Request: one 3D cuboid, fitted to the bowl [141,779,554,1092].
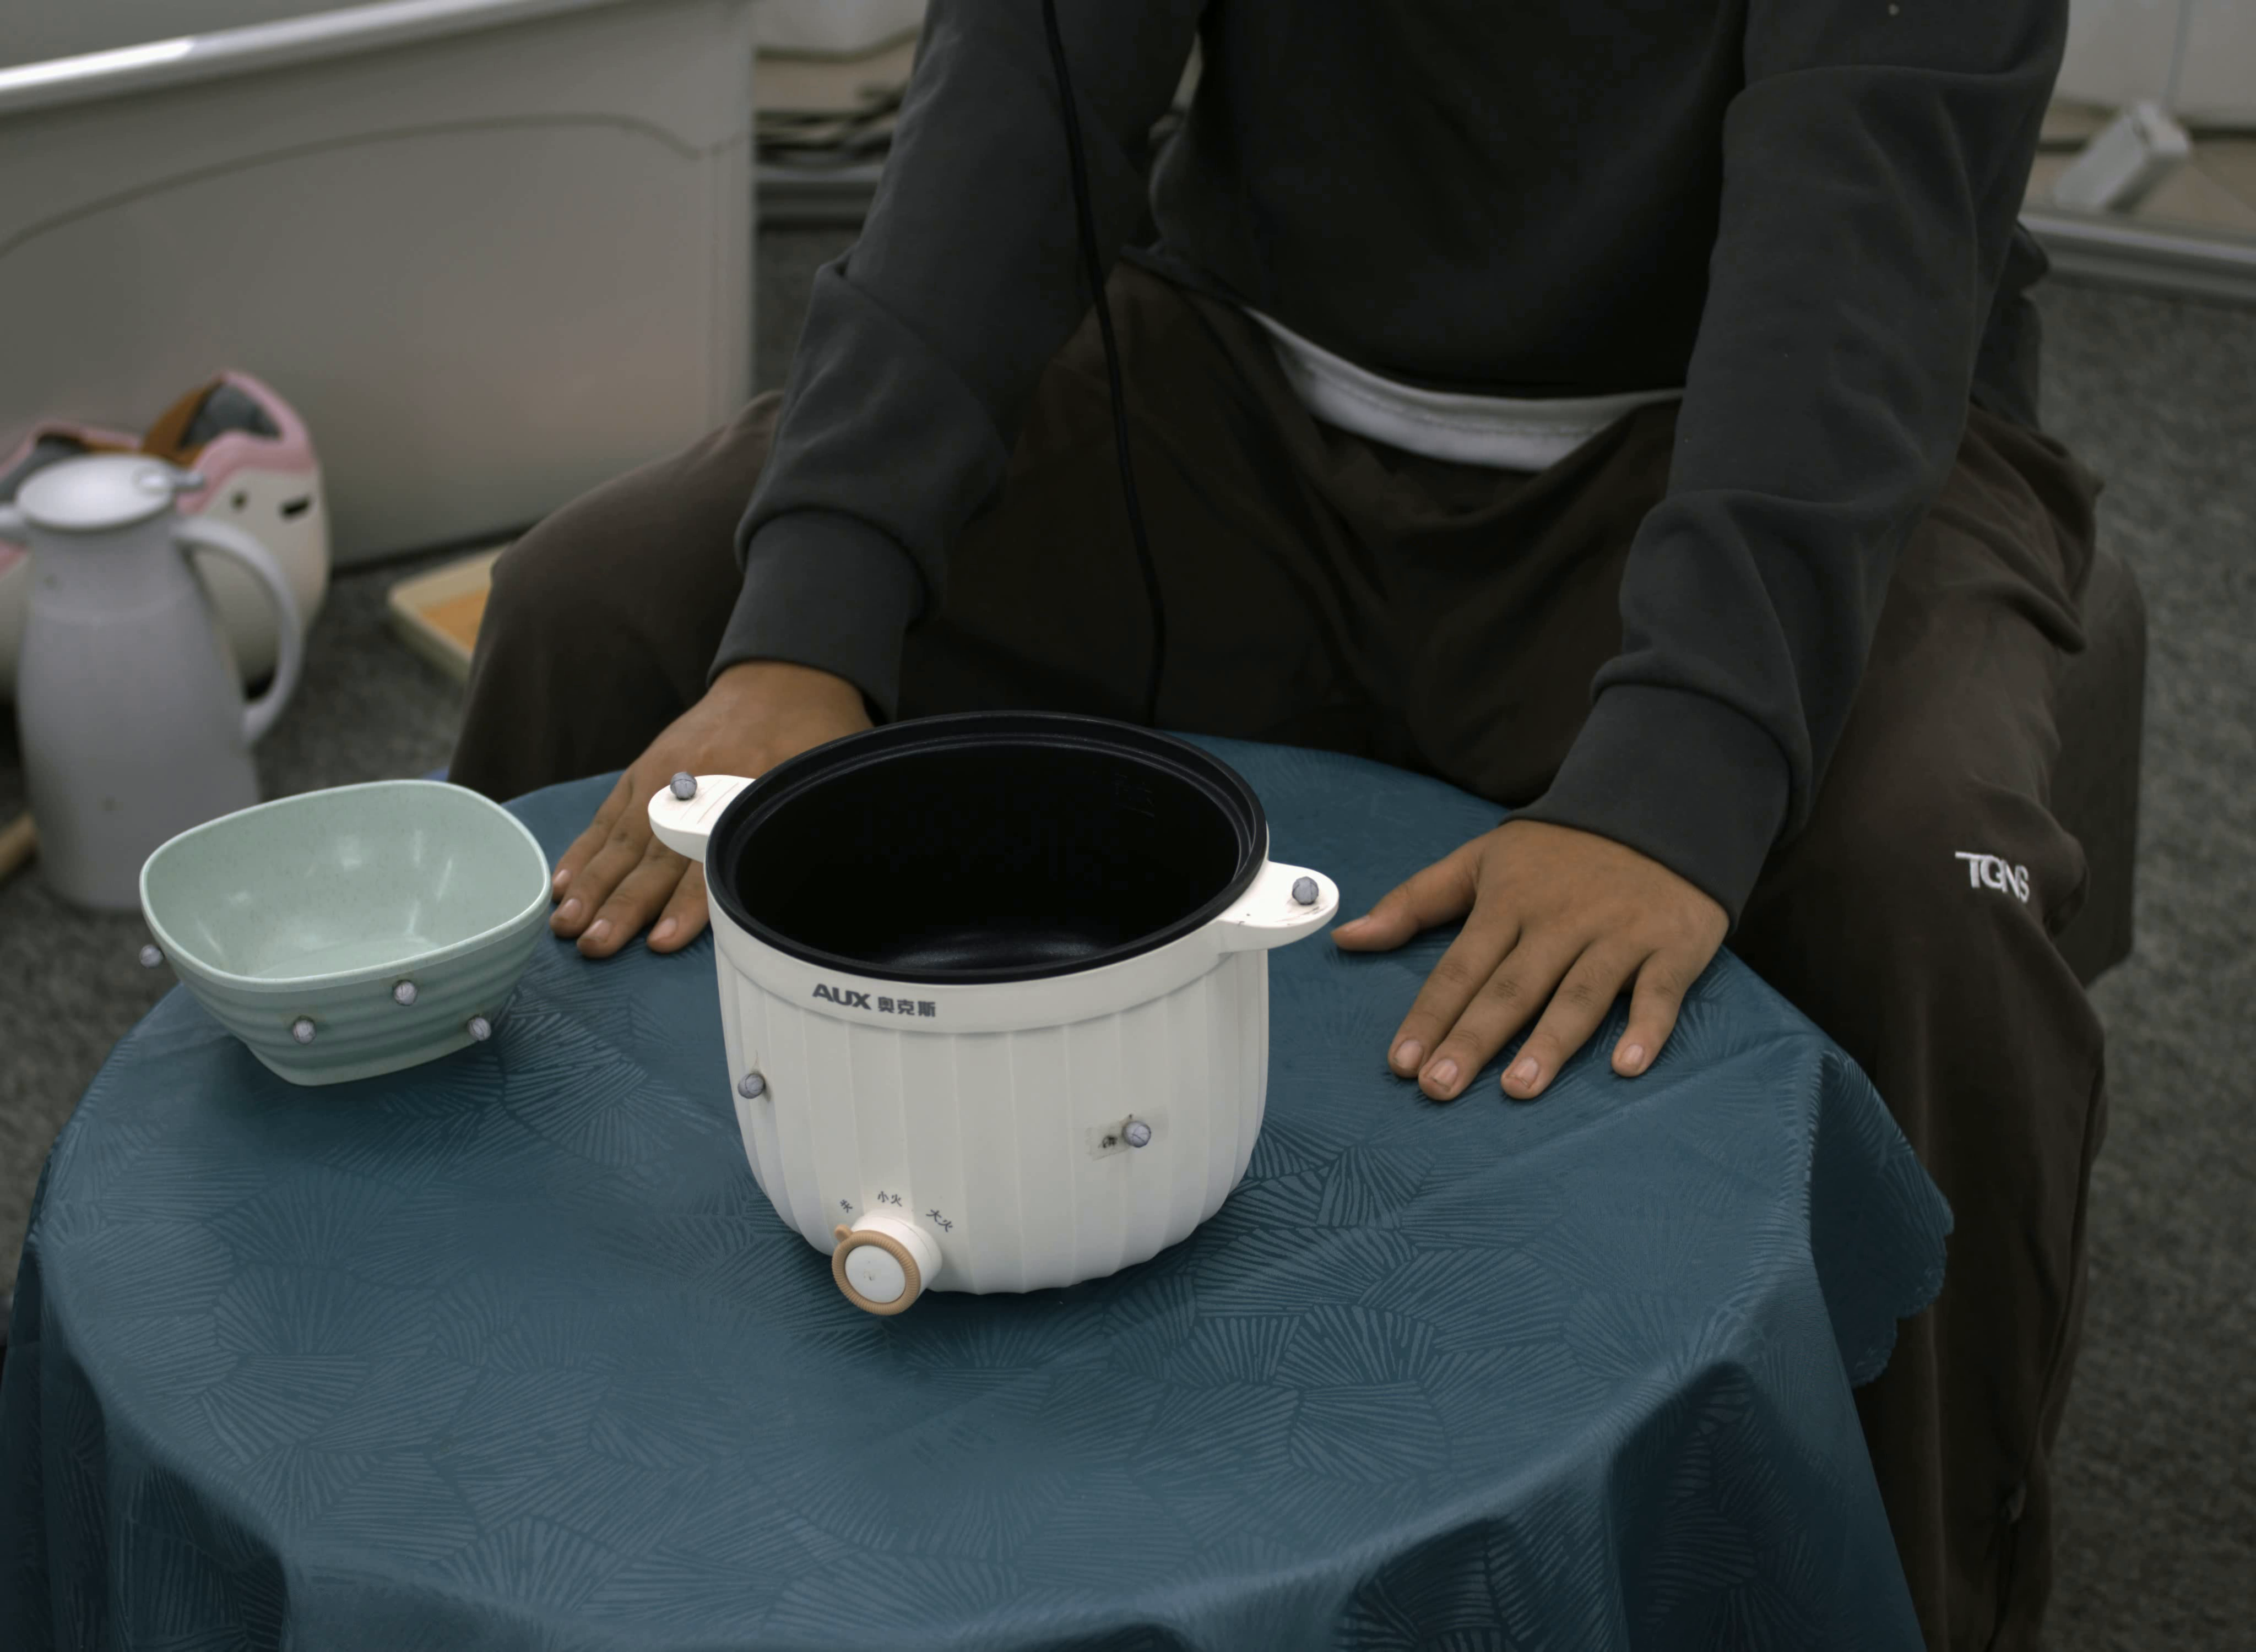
[{"bbox_3d":[-0.272,0.045,1.978,0.151,0.058,0.154,-1,29,1],"label":"bowl"}]

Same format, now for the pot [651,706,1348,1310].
[{"bbox_3d":[-0.041,0.063,1.831,0.238,0.141,0.193,6,25,21],"label":"pot"}]
